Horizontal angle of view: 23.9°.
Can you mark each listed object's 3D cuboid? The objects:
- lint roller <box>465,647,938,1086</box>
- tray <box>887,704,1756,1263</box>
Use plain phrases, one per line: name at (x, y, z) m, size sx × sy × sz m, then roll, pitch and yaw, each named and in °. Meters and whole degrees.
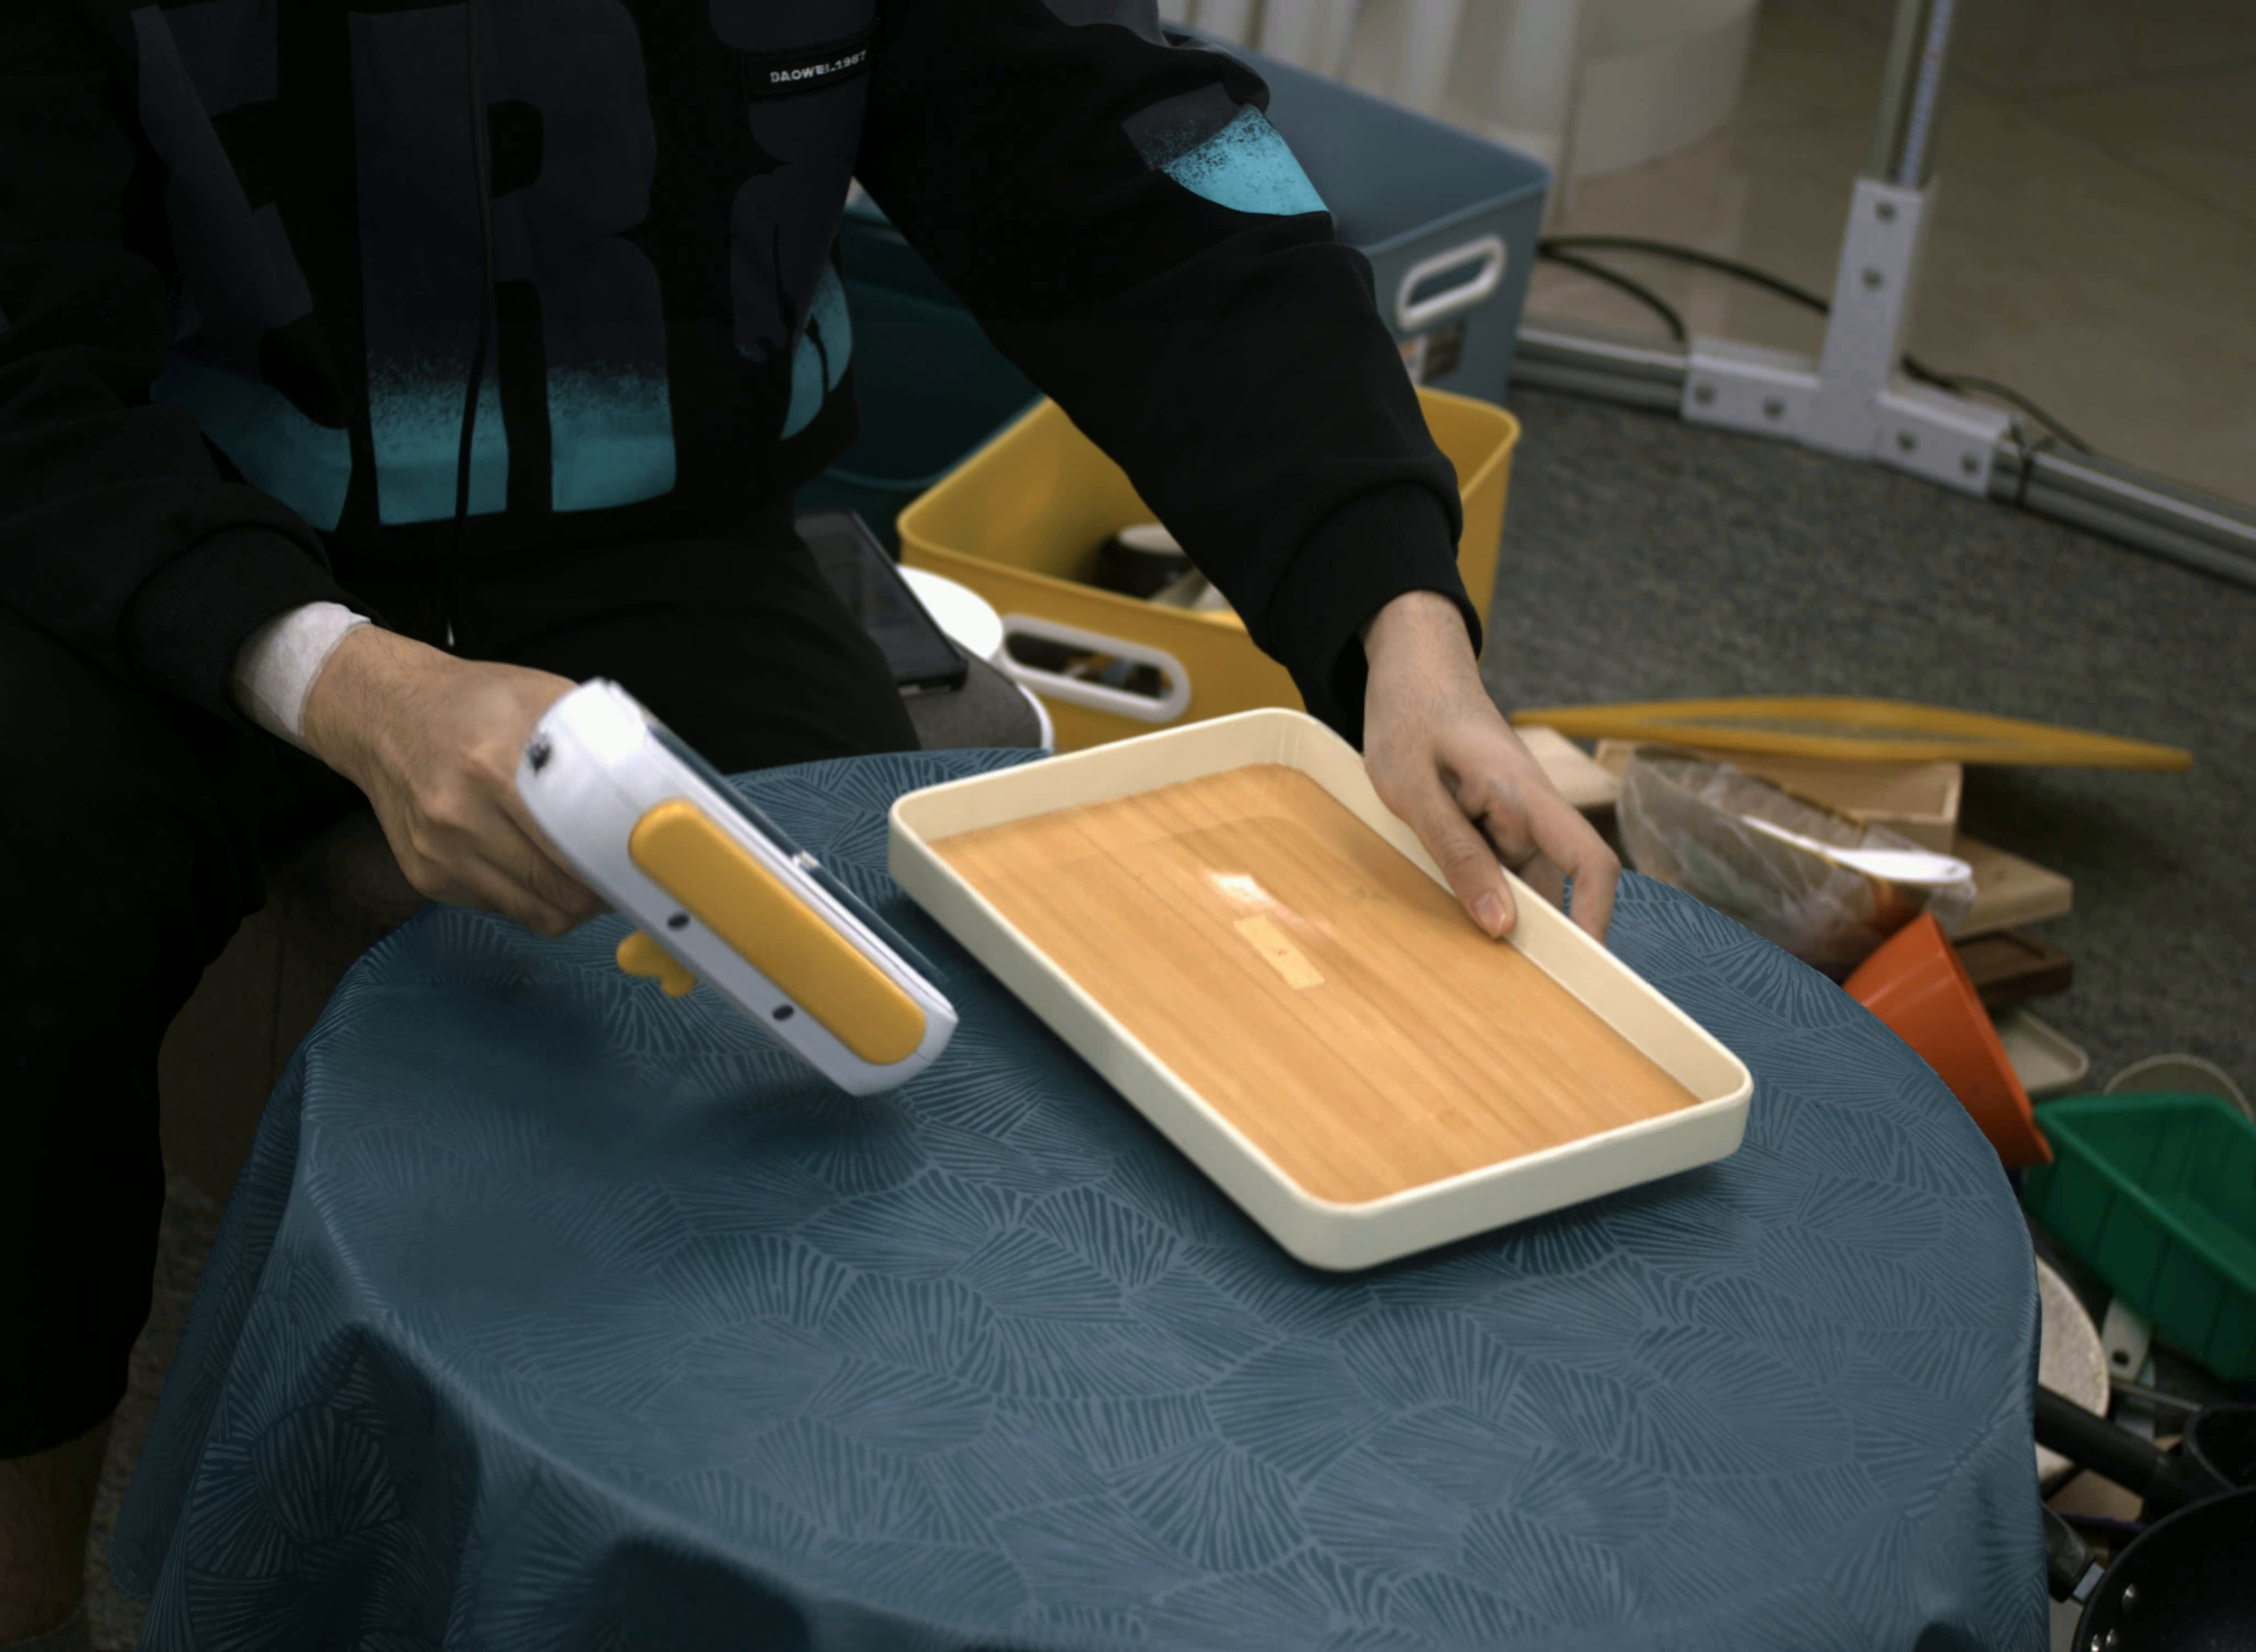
lint roller at (-0.167, 0.003, 1.819) m, size 0.191 × 0.074 × 0.194 m, roll 40°, pitch -3°, yaw -34°
tray at (0.063, 0.049, 1.892) m, size 0.190 × 0.027 × 0.303 m, roll -14°, pitch 34°, yaw -29°
